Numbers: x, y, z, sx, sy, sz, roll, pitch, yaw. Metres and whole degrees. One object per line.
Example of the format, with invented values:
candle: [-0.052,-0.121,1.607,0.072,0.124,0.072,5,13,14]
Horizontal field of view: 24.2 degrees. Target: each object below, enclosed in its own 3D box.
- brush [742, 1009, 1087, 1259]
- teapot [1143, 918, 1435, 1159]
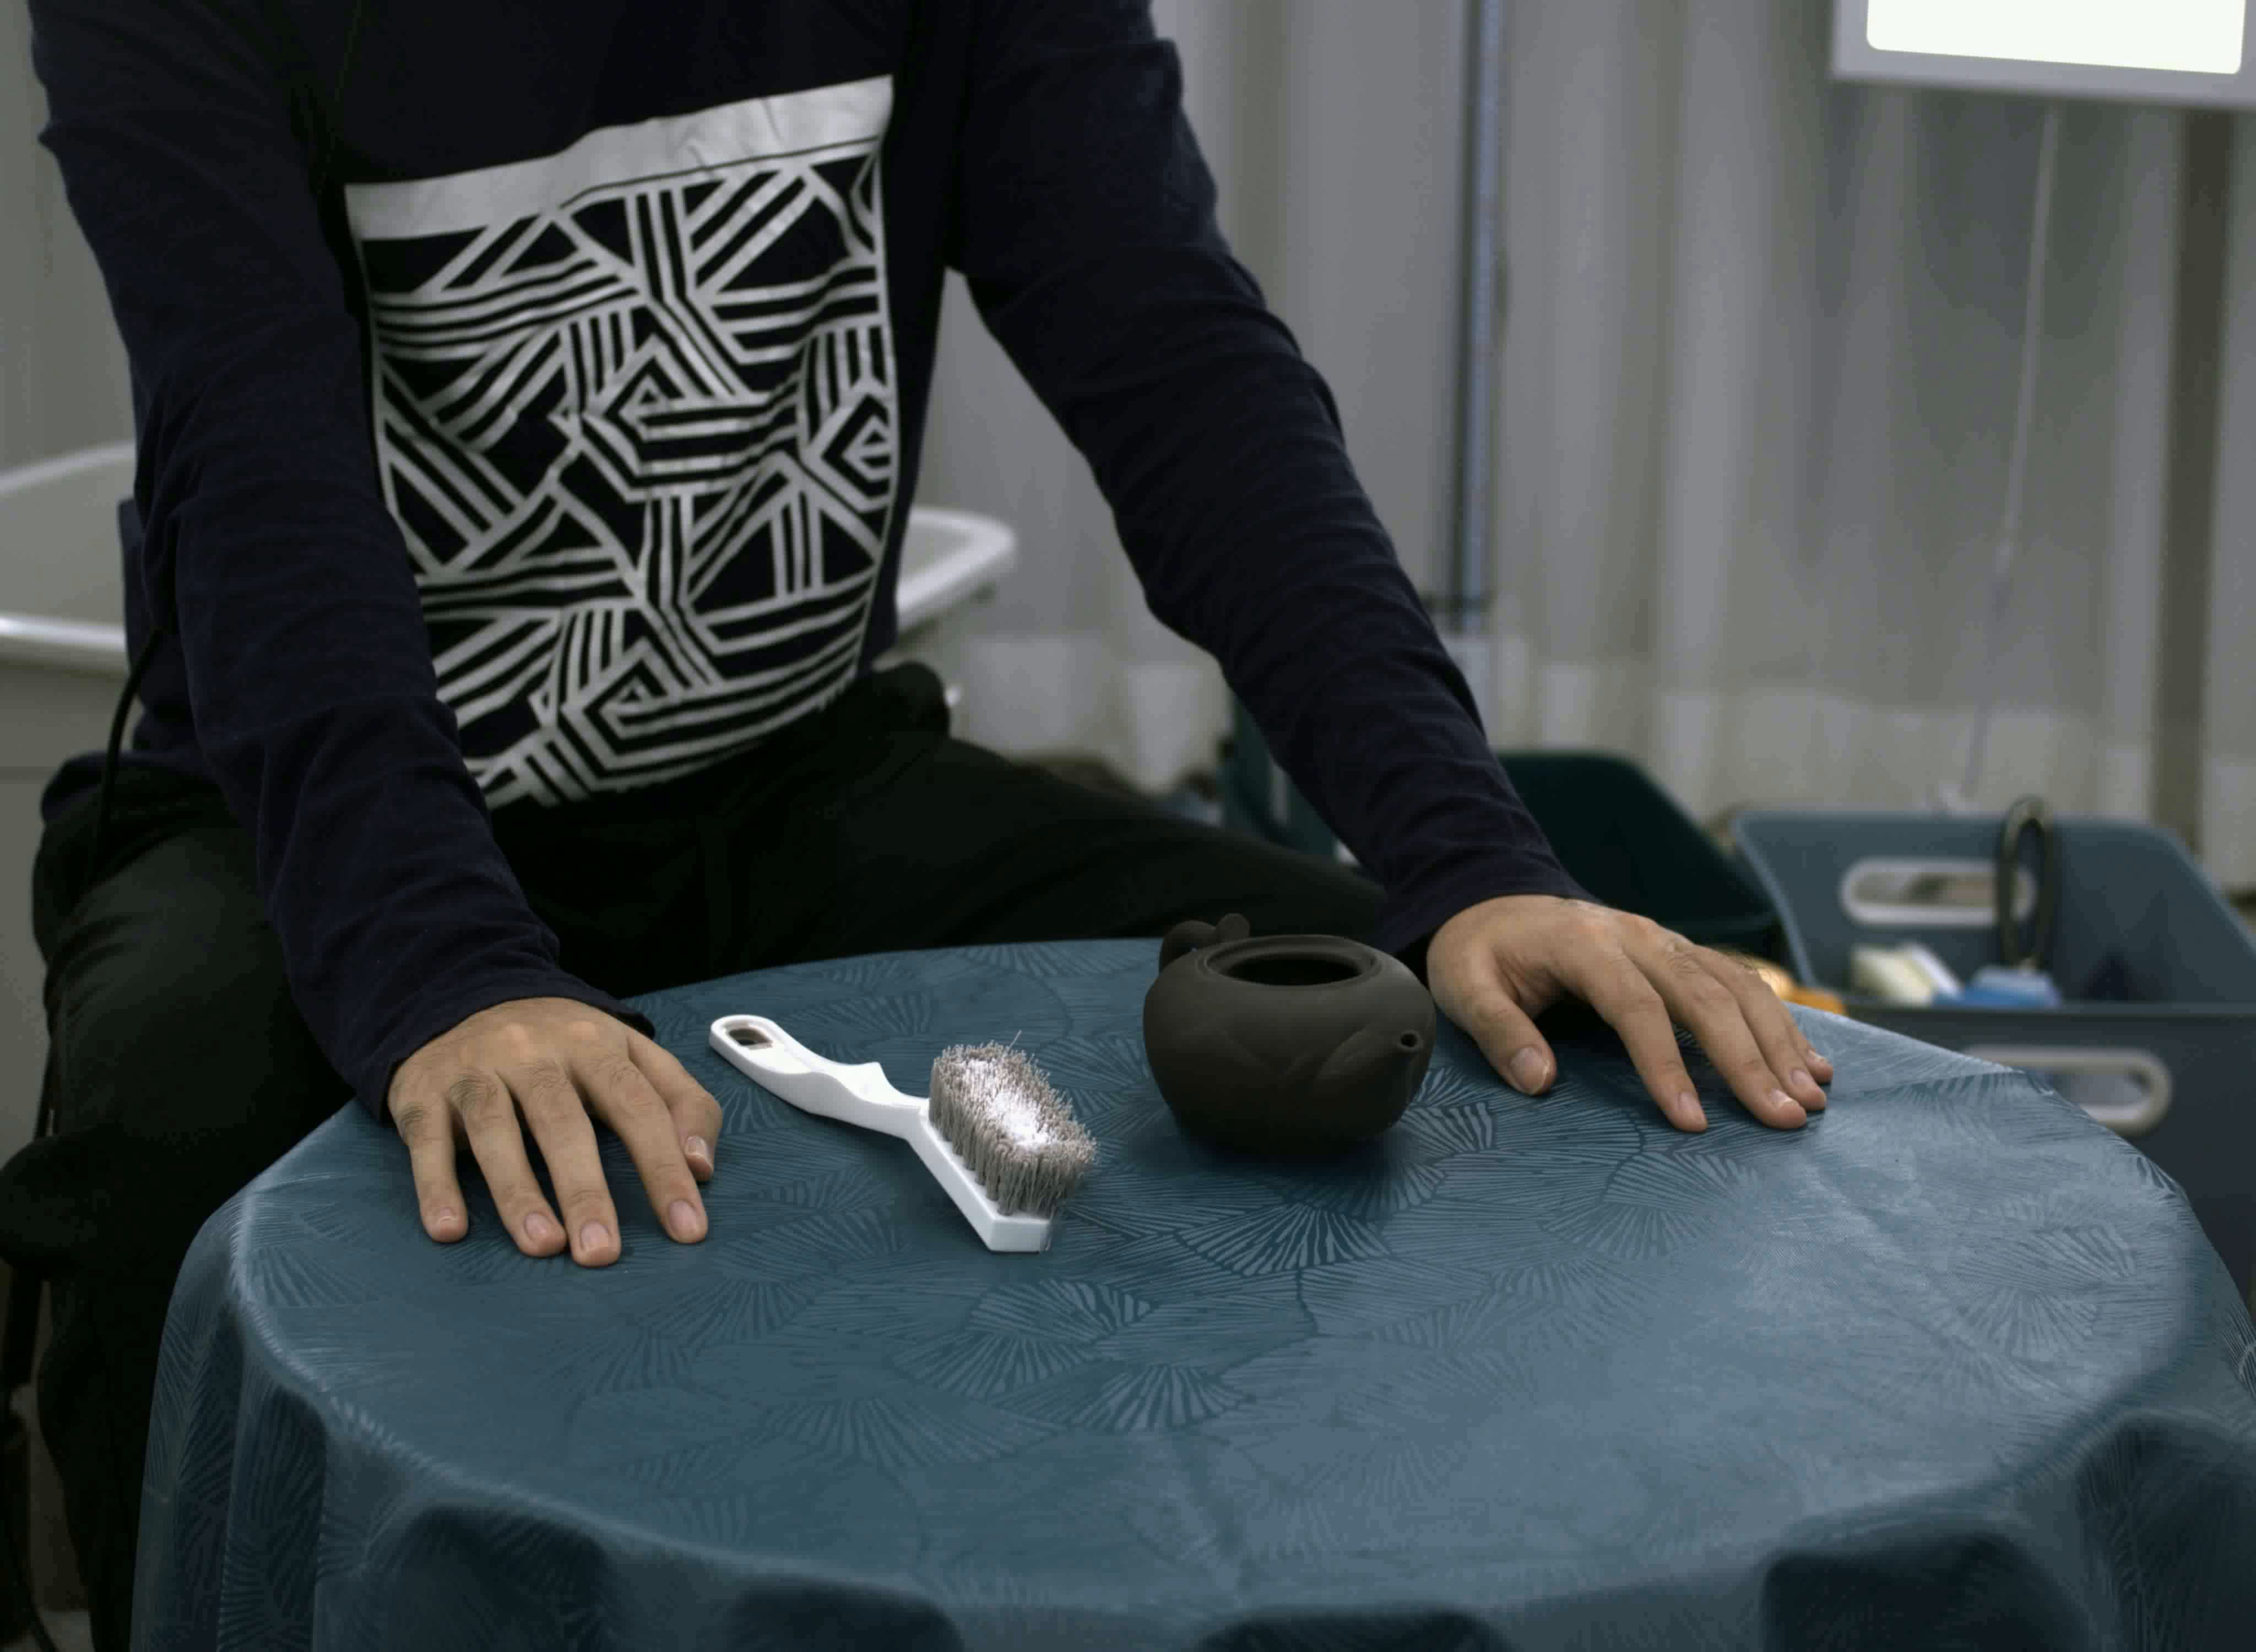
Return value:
brush: [-0.073,0.077,1.660,0.034,0.051,0.241,-12,20,-22]
teapot: [0.050,0.068,1.674,0.093,0.065,0.152,-8,17,-27]
